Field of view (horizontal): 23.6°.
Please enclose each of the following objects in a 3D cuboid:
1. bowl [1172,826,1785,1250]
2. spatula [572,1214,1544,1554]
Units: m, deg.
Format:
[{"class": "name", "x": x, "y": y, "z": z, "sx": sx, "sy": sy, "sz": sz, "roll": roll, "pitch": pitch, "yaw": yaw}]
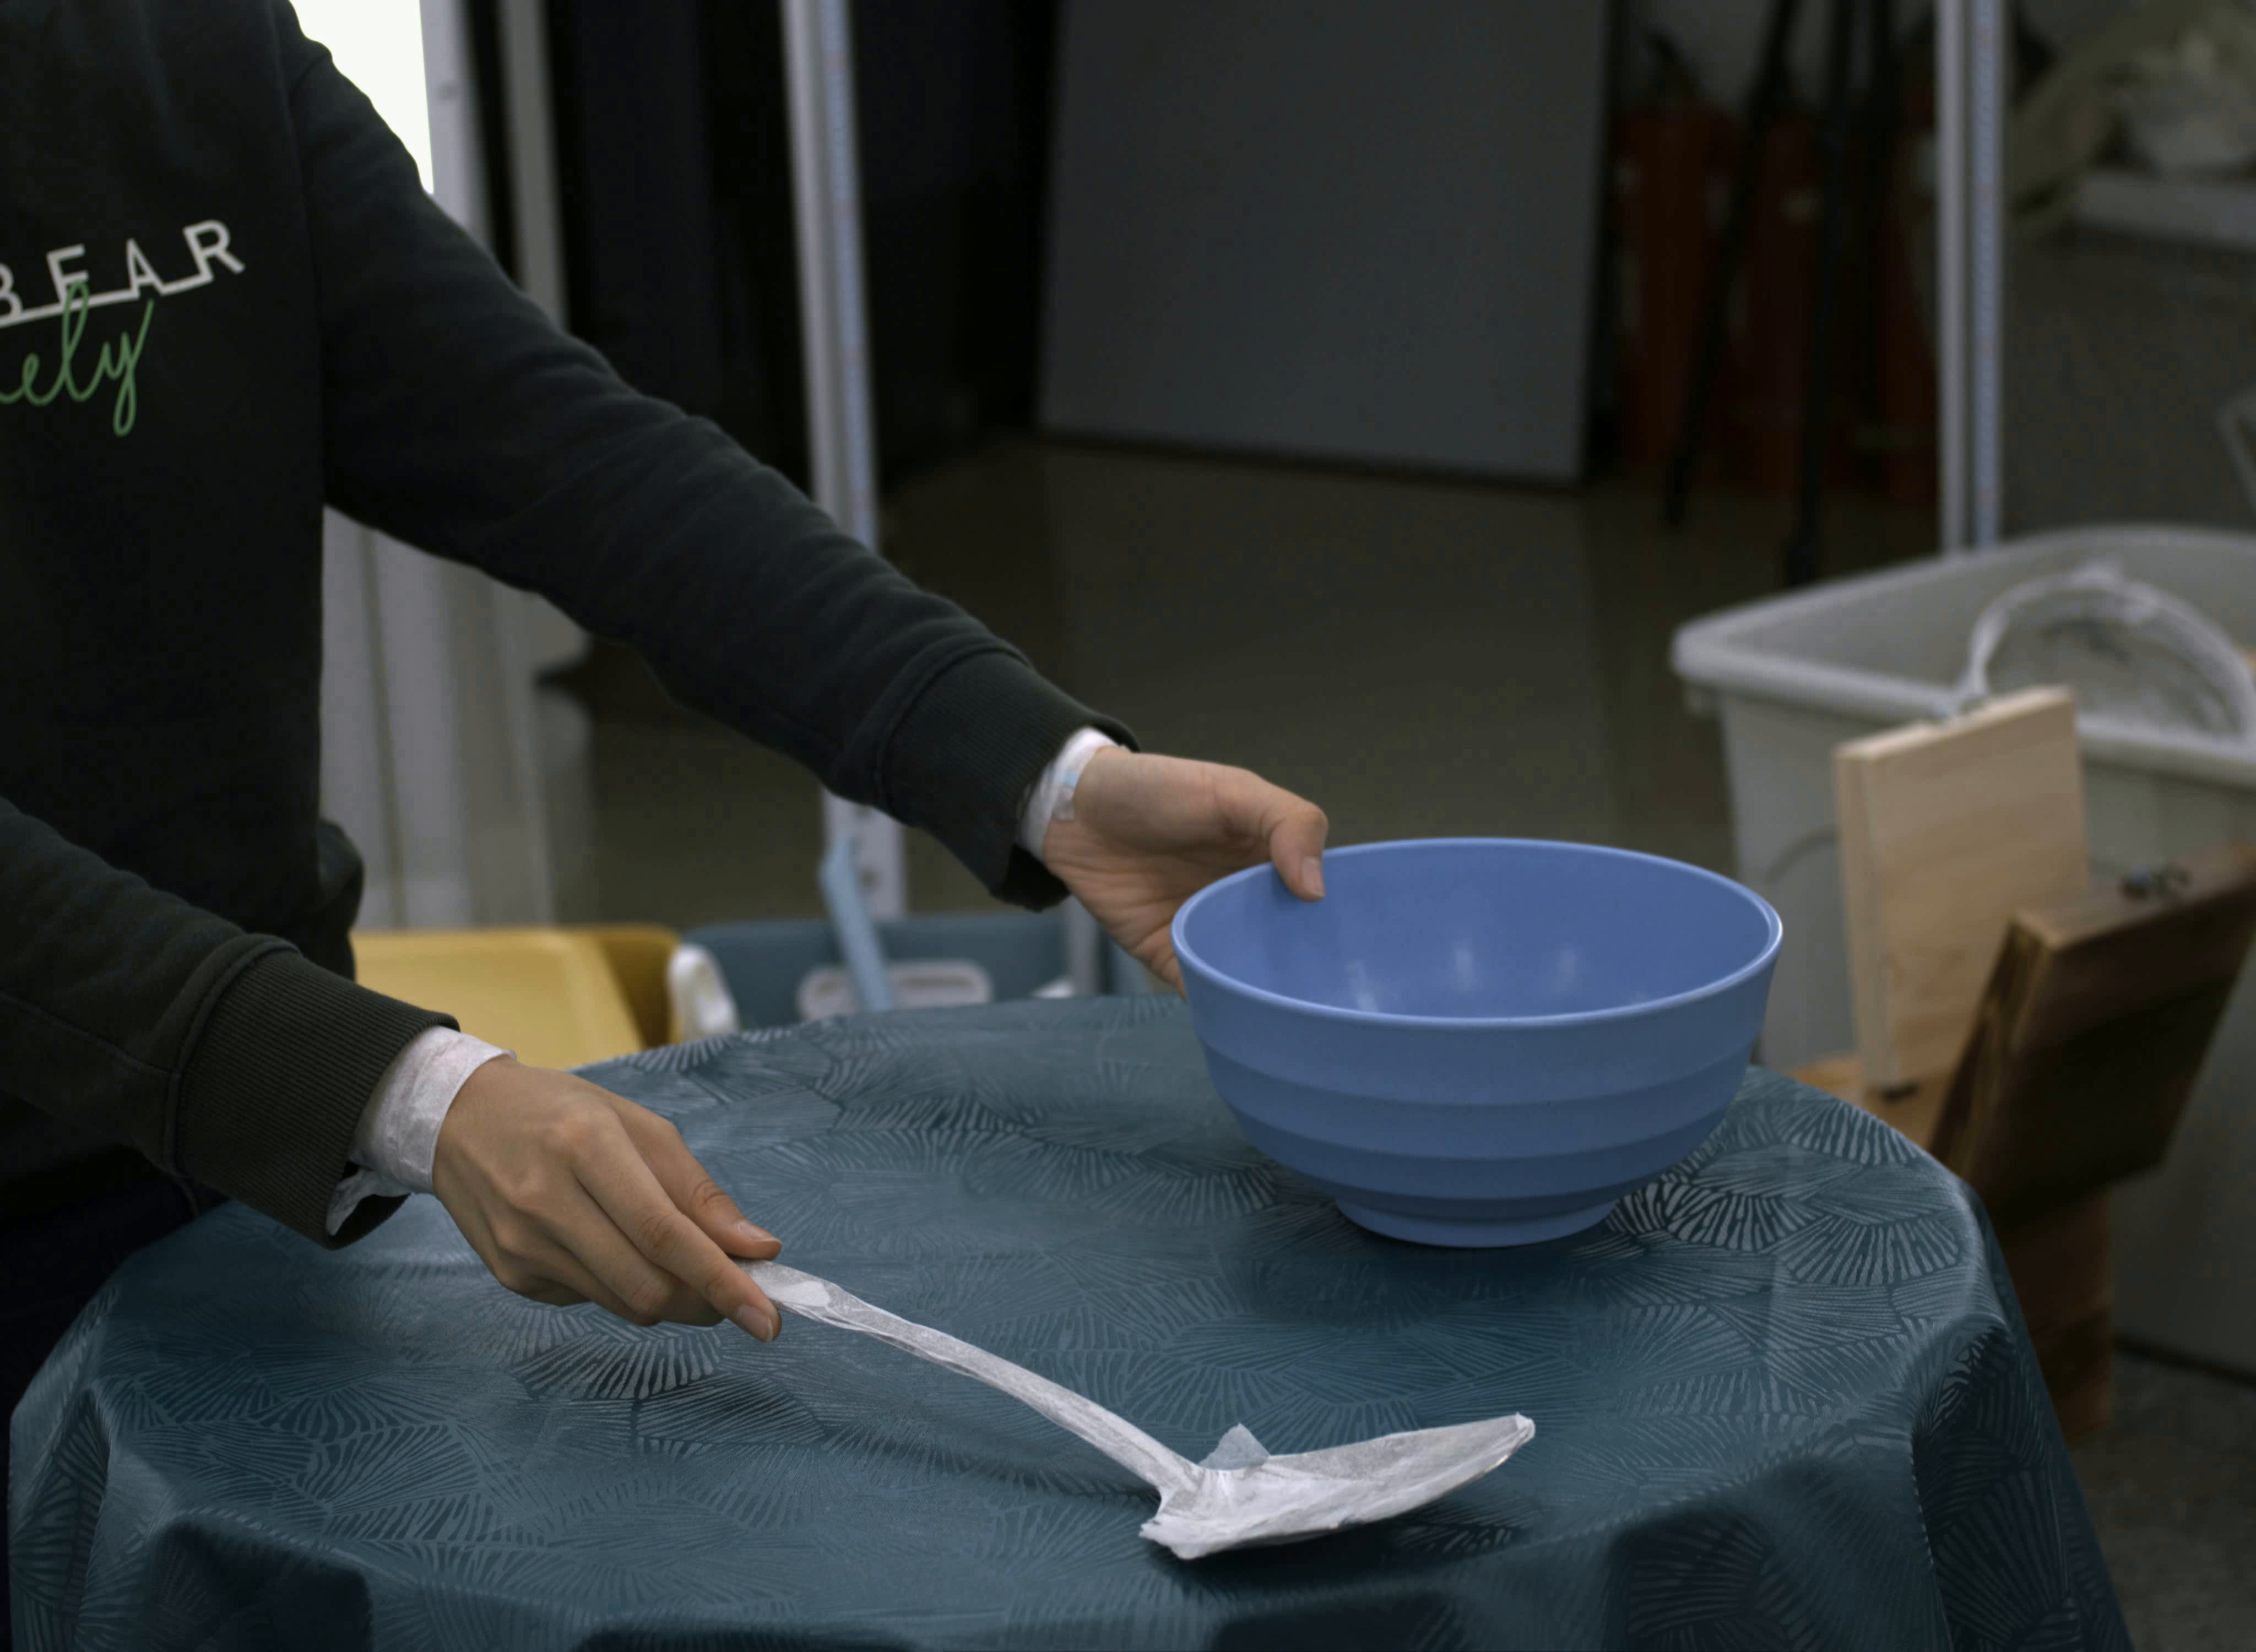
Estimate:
[{"class": "bowl", "x": 0.111, "y": 0.074, "z": 1.720, "sx": 0.194, "sy": 0.096, "sz": 0.197, "roll": -1, "pitch": 17, "yaw": -1}, {"class": "spatula", "x": -0.042, "y": 0.149, "z": 1.543, "sx": 0.368, "sy": 0.045, "sz": 0.097, "roll": 17, "pitch": 28, "yaw": 40}]
